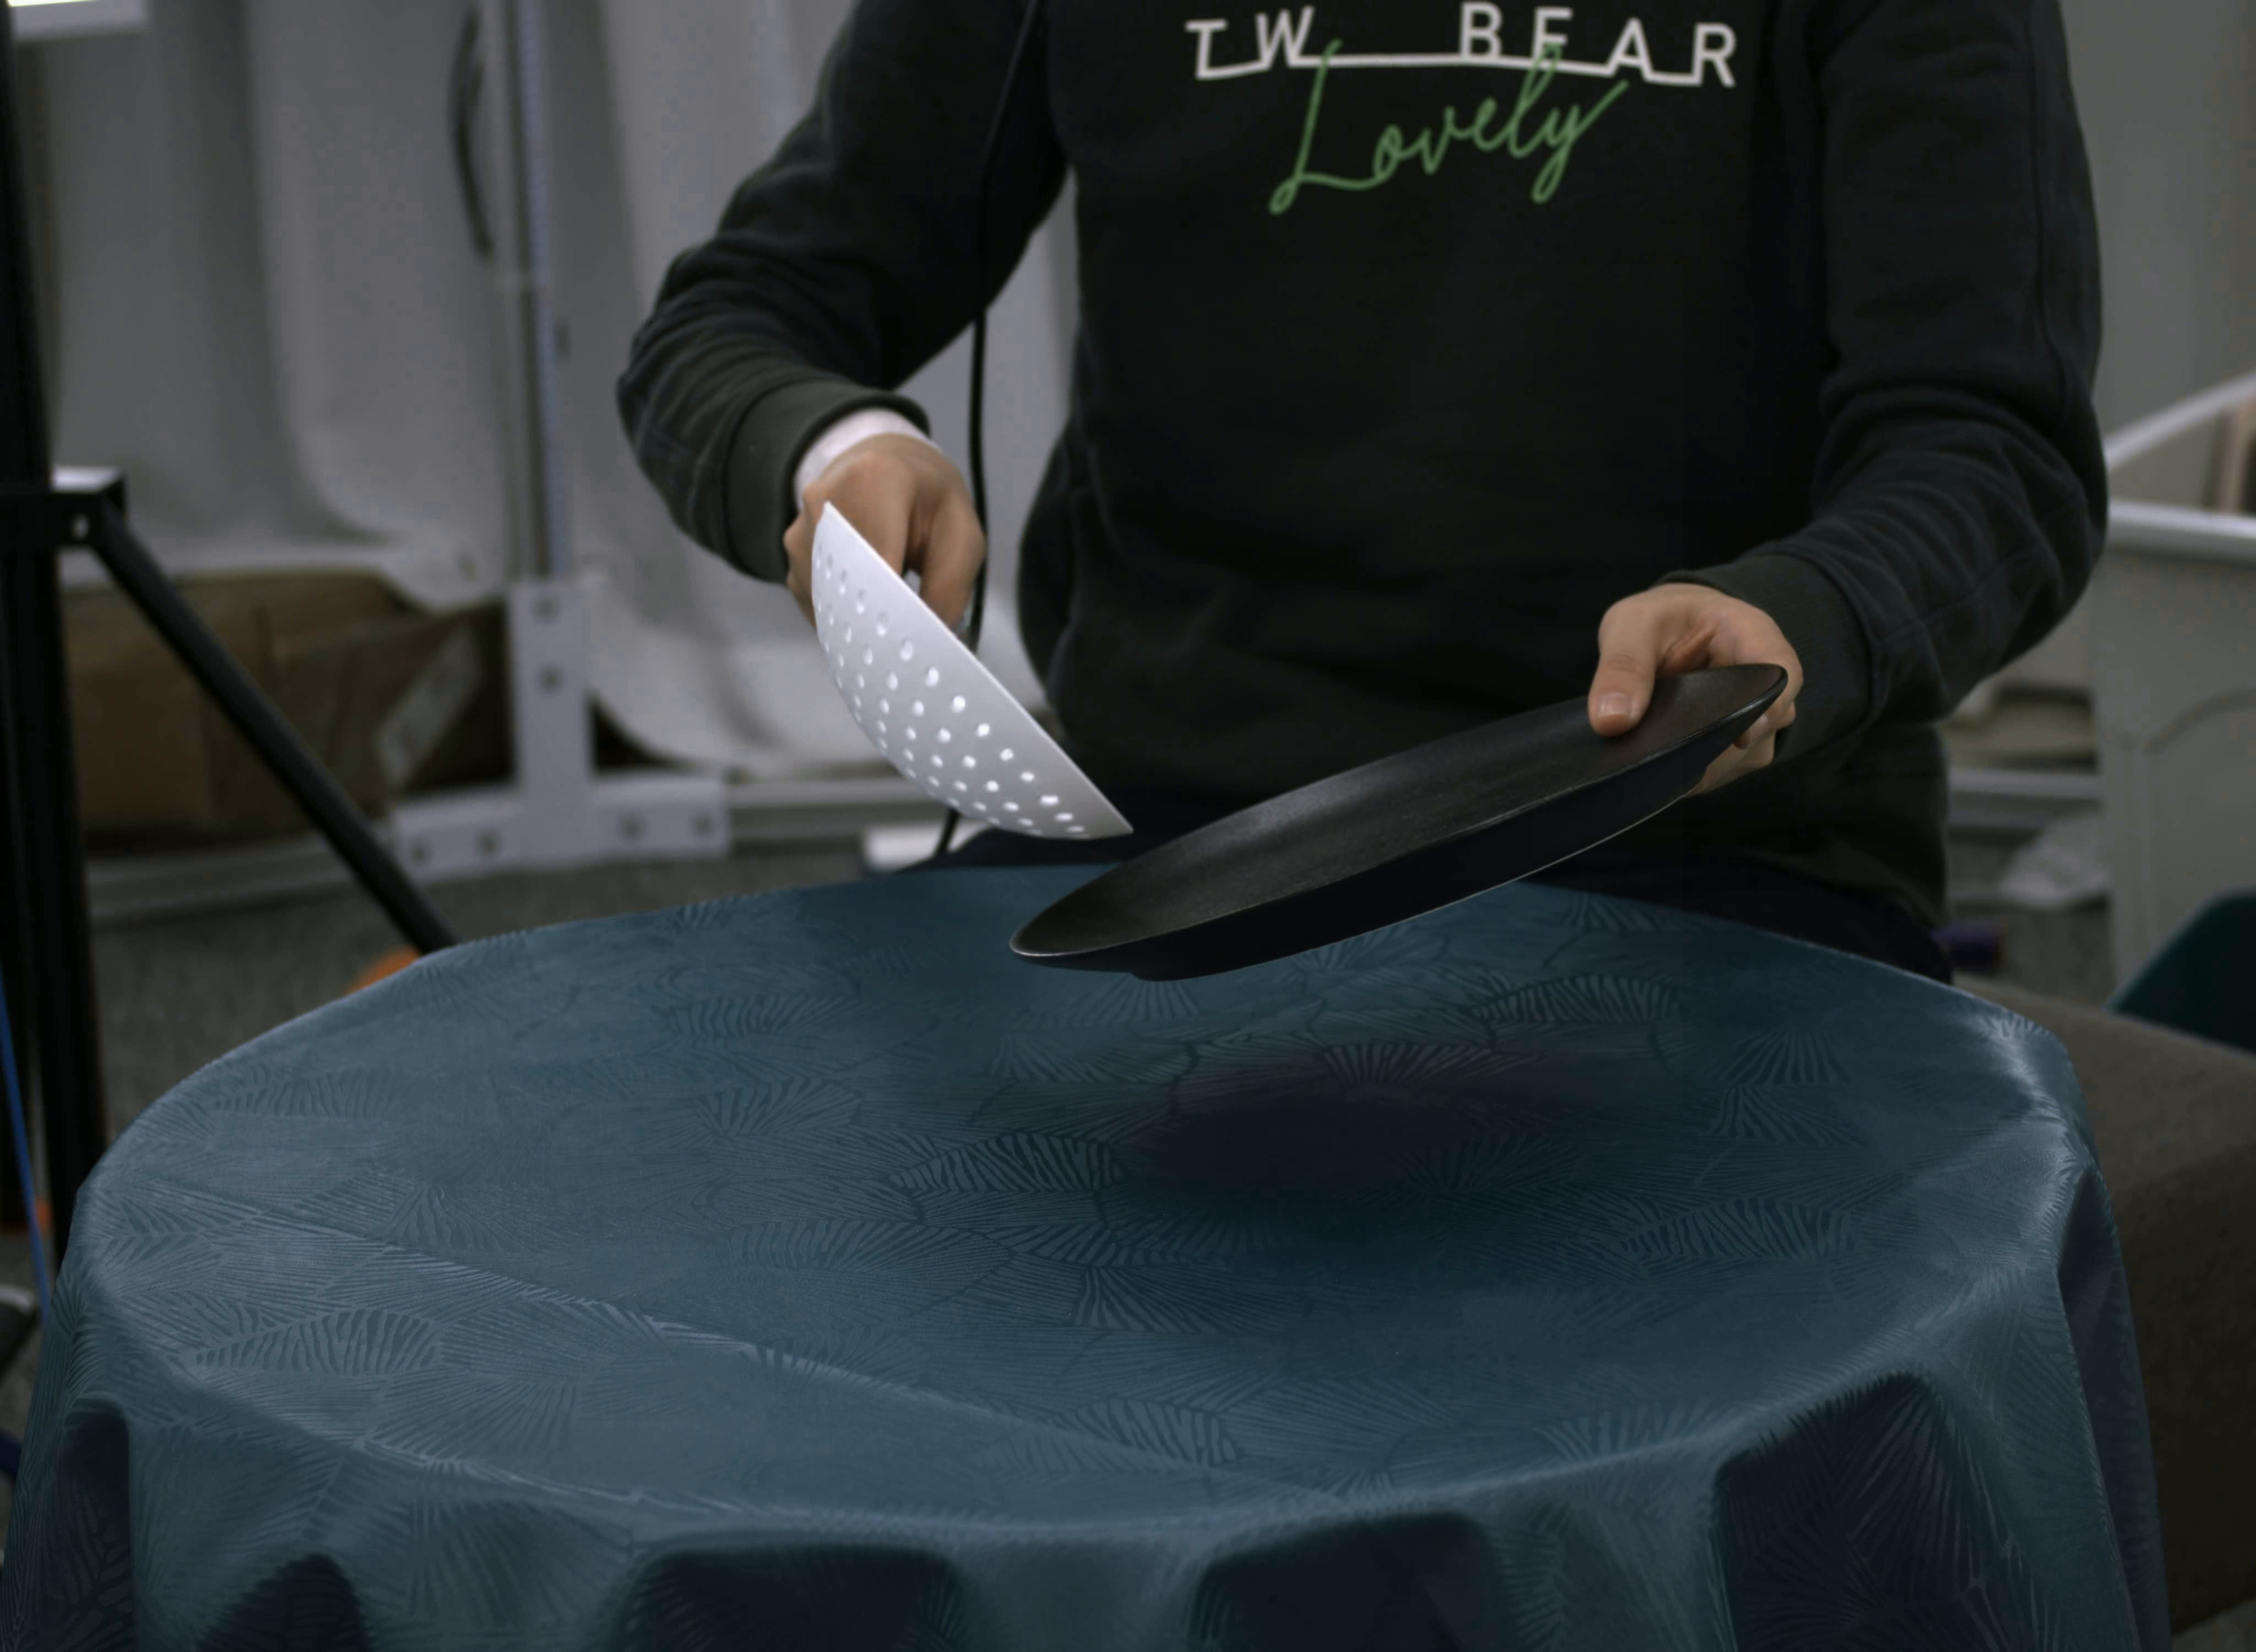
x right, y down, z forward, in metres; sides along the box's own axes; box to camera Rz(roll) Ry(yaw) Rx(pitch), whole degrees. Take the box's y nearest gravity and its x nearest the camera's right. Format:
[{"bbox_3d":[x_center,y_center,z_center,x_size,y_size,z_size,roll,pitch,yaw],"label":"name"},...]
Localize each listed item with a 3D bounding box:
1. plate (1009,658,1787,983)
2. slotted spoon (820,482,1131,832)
[{"bbox_3d":[0.082,0.004,1.568,0.243,0.023,0.245,-20,6,0],"label":"plate"},{"bbox_3d":[-0.064,-0.060,1.712,0.046,0.135,0.351,-41,10,3],"label":"slotted spoon"}]
